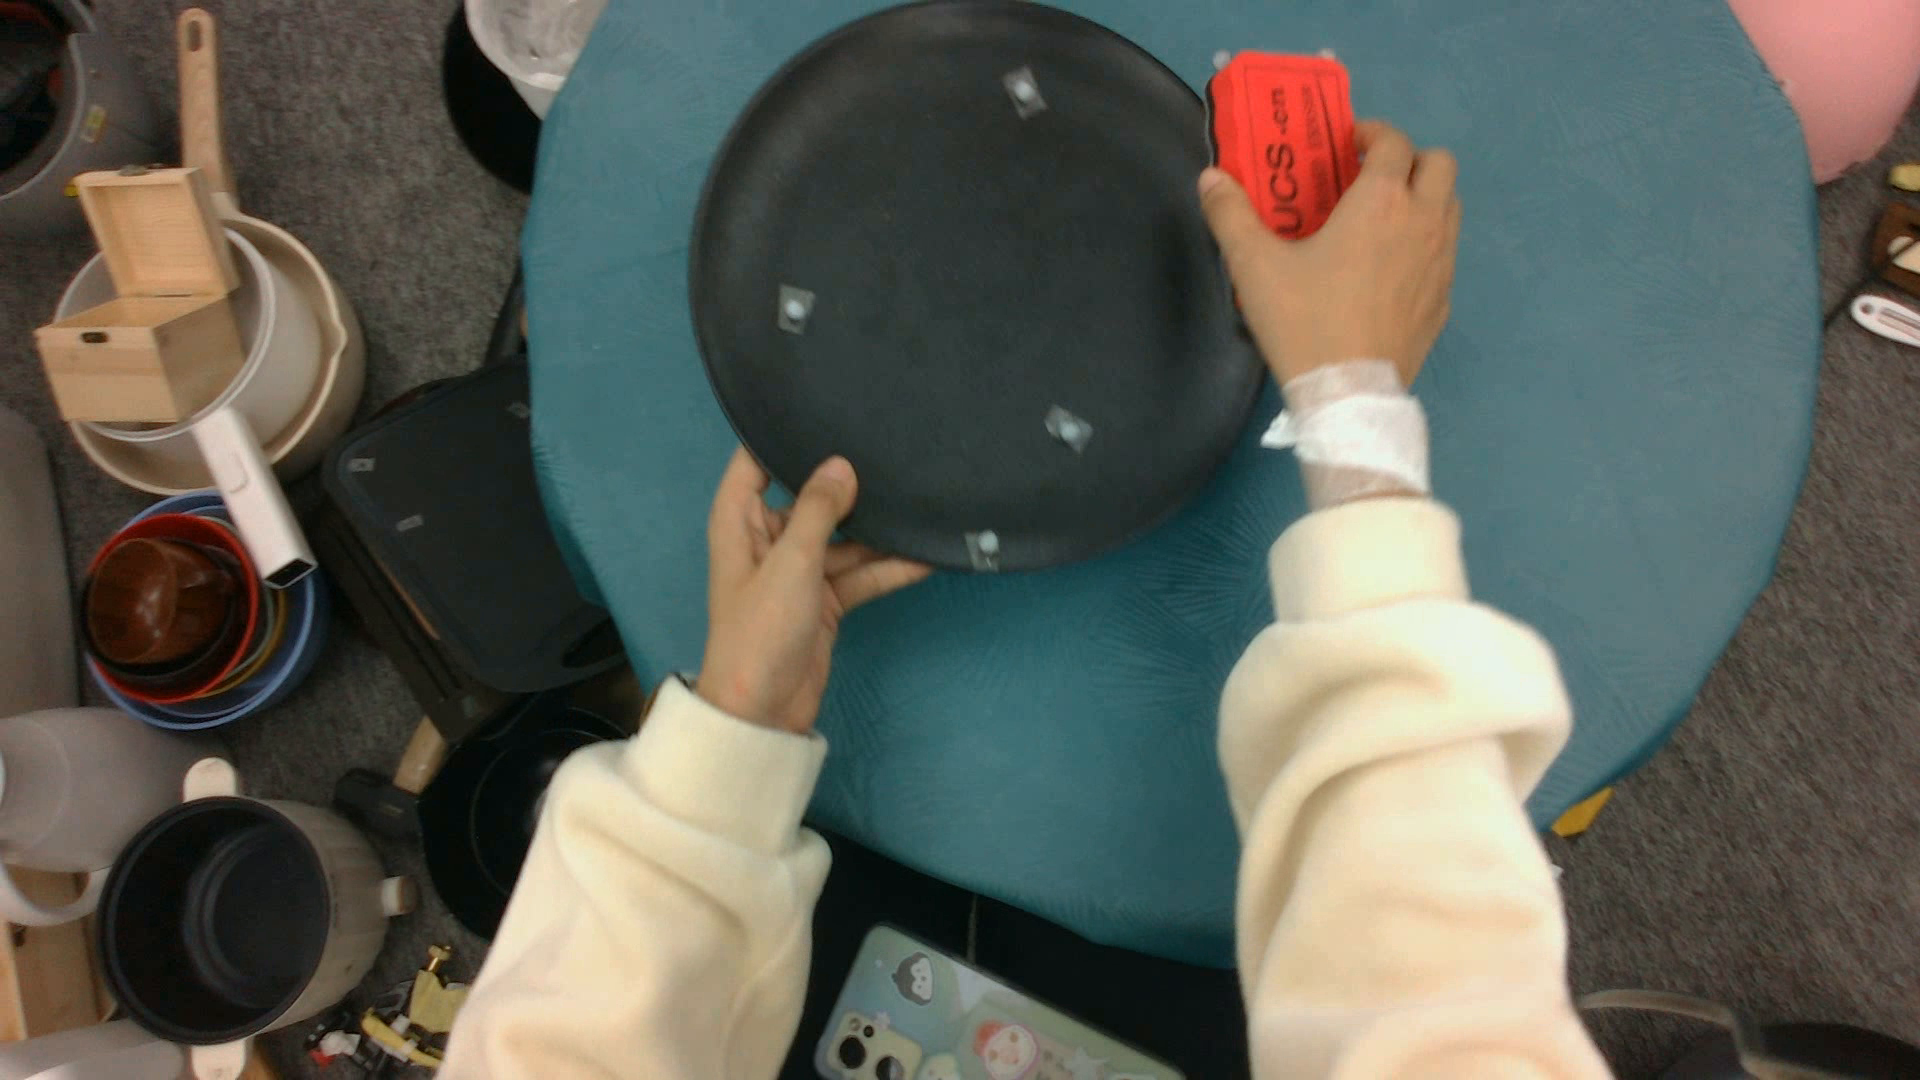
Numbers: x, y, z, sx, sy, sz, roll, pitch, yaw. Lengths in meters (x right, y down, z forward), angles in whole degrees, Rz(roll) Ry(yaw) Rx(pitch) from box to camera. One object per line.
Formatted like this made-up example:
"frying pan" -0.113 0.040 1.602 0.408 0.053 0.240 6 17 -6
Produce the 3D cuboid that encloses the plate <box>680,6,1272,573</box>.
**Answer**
"plate" 0.008 -0.106 0.573 0.244 0.023 0.244 1 80 -3

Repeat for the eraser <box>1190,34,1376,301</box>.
"eraser" 0.132 -0.153 0.565 0.059 0.023 0.108 -5 80 -21
